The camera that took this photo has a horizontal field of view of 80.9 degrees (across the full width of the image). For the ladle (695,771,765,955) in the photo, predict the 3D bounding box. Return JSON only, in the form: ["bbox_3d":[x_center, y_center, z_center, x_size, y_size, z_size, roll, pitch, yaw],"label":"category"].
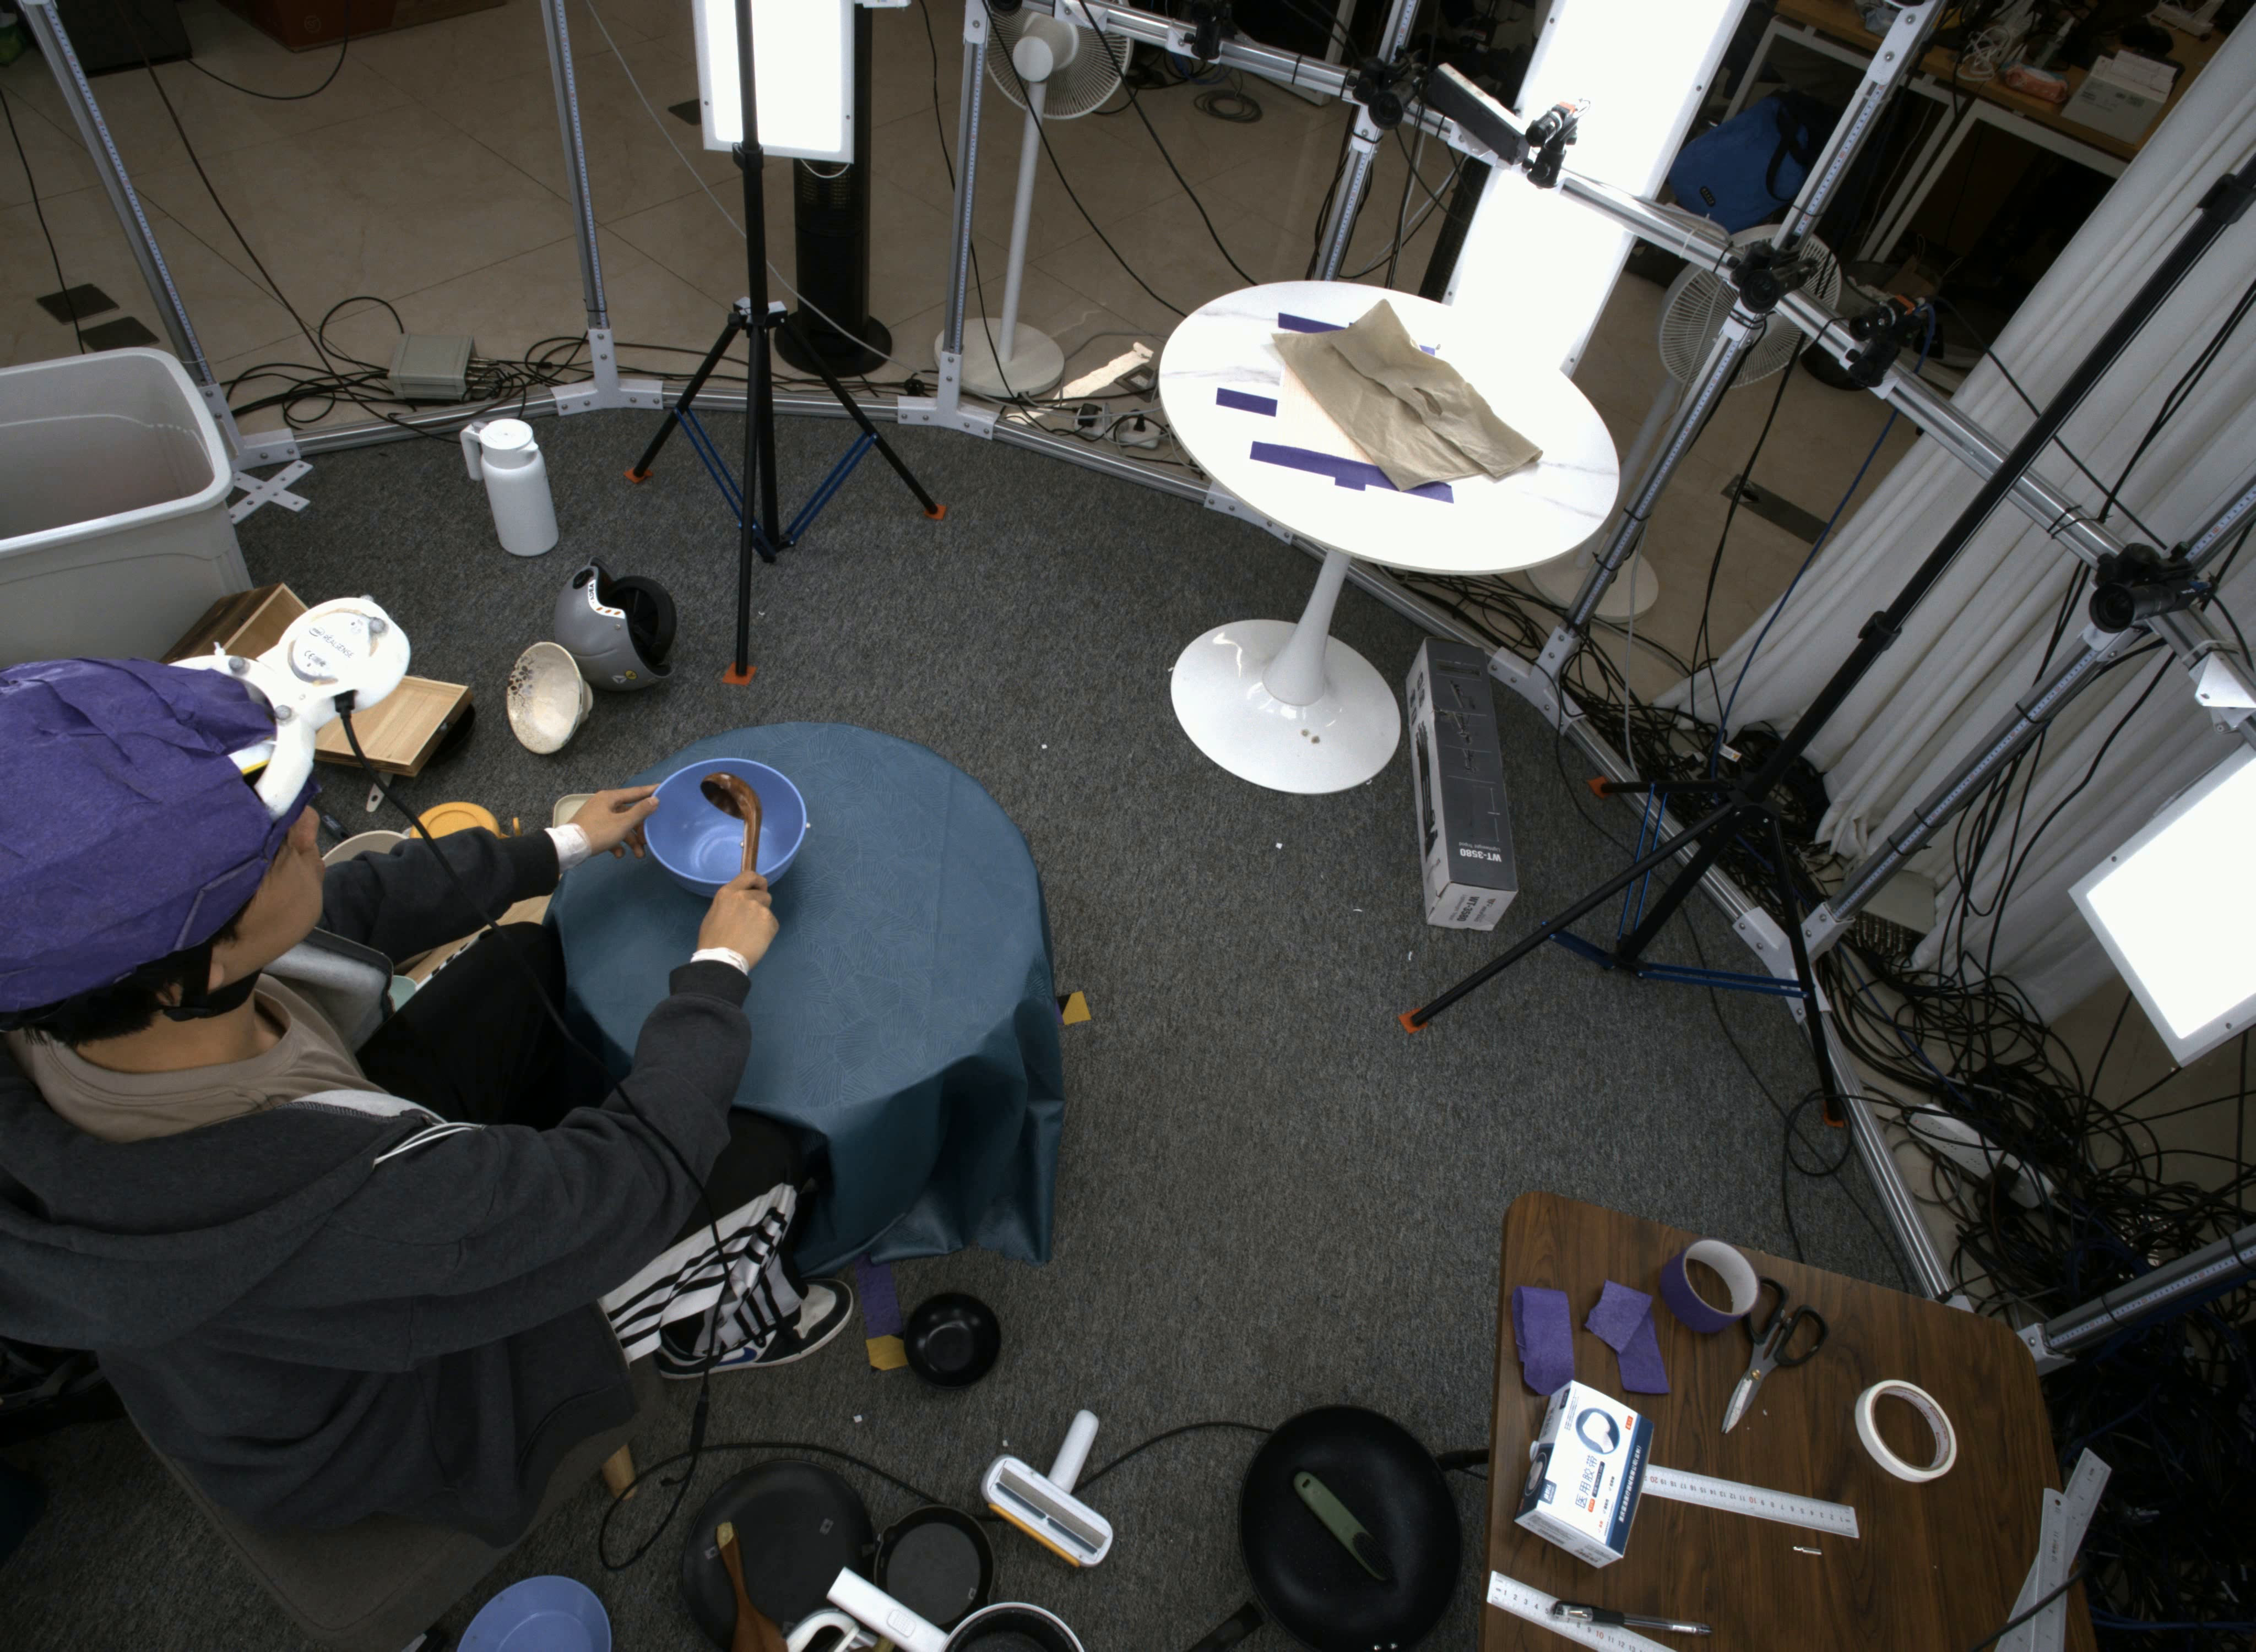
[{"bbox_3d":[-0.464,0.043,1.498,0.075,0.085,0.267,-22,51,9],"label":"ladle"}]

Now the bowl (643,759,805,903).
[{"bbox_3d":[-0.506,0.021,1.632,0.196,0.097,0.193,7,54,-8],"label":"bowl"}]
